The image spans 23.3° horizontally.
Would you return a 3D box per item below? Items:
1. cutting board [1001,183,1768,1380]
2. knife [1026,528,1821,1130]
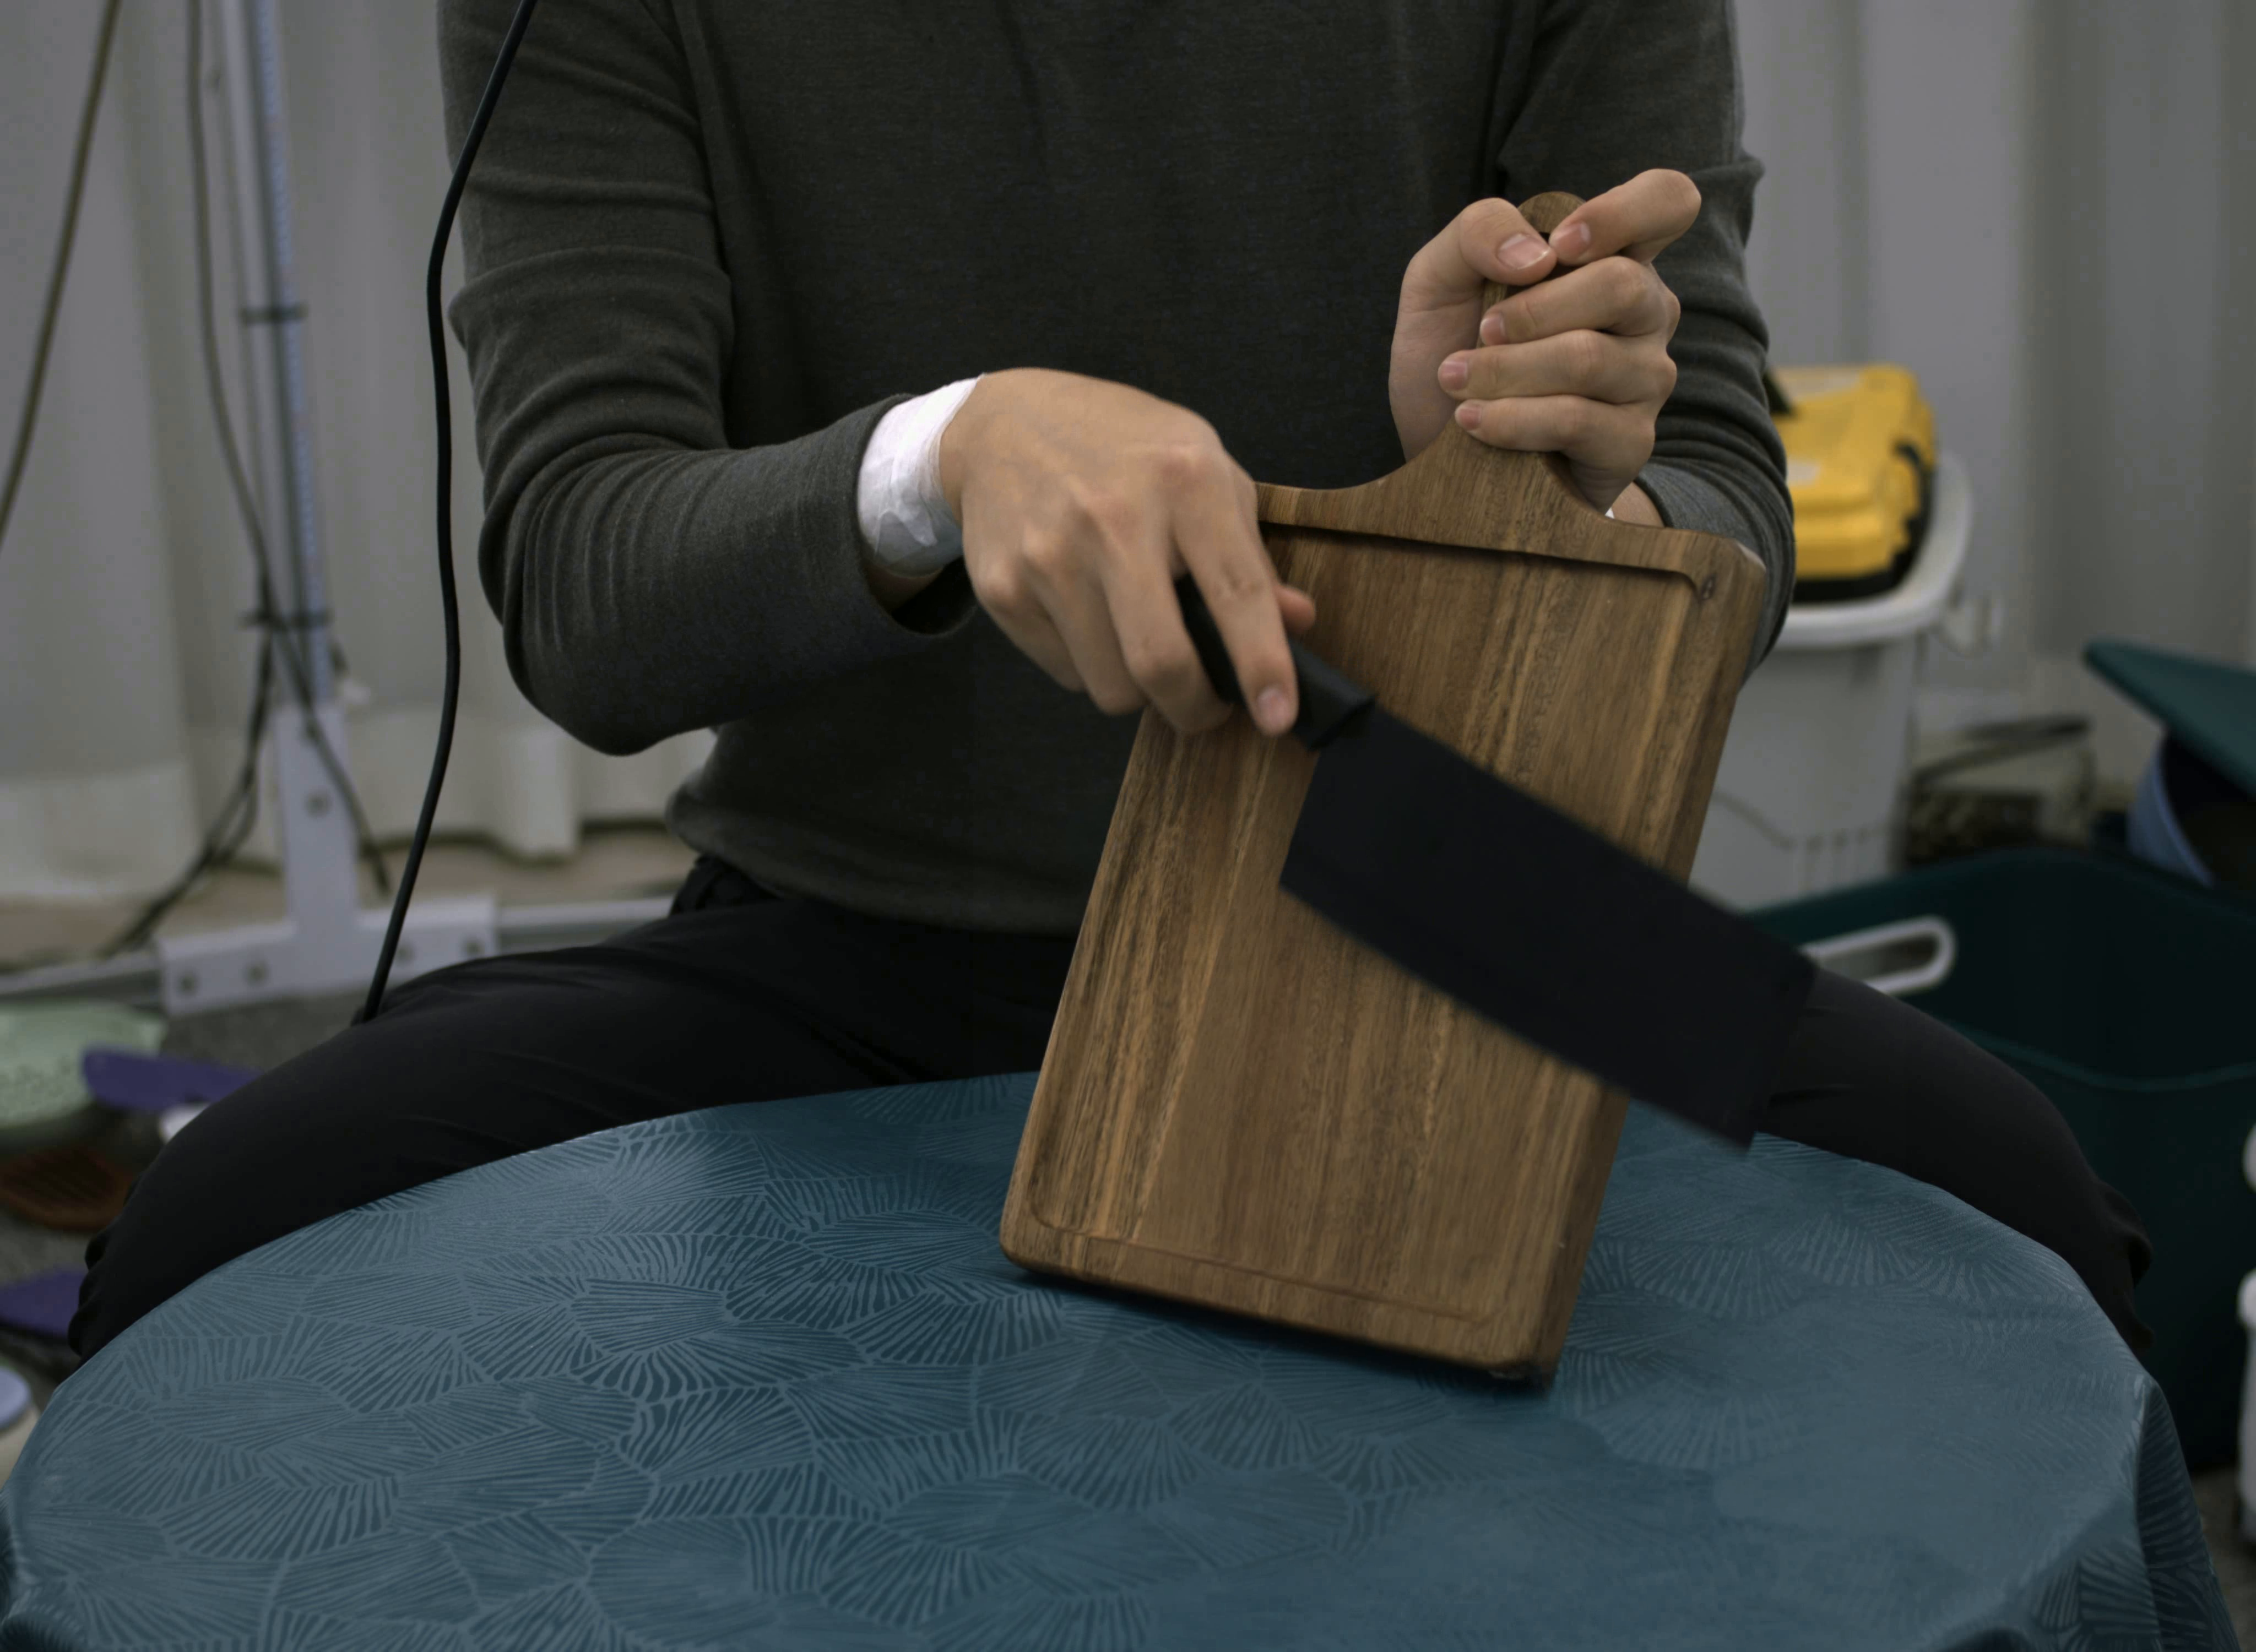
[{"bbox_3d":[0.086,-0.022,1.614,0.202,0.354,0.023,8,-13,37],"label":"cutting board"},{"bbox_3d":[0.077,-0.007,1.578,0.305,0.080,0.021,36,22,35],"label":"knife"}]
